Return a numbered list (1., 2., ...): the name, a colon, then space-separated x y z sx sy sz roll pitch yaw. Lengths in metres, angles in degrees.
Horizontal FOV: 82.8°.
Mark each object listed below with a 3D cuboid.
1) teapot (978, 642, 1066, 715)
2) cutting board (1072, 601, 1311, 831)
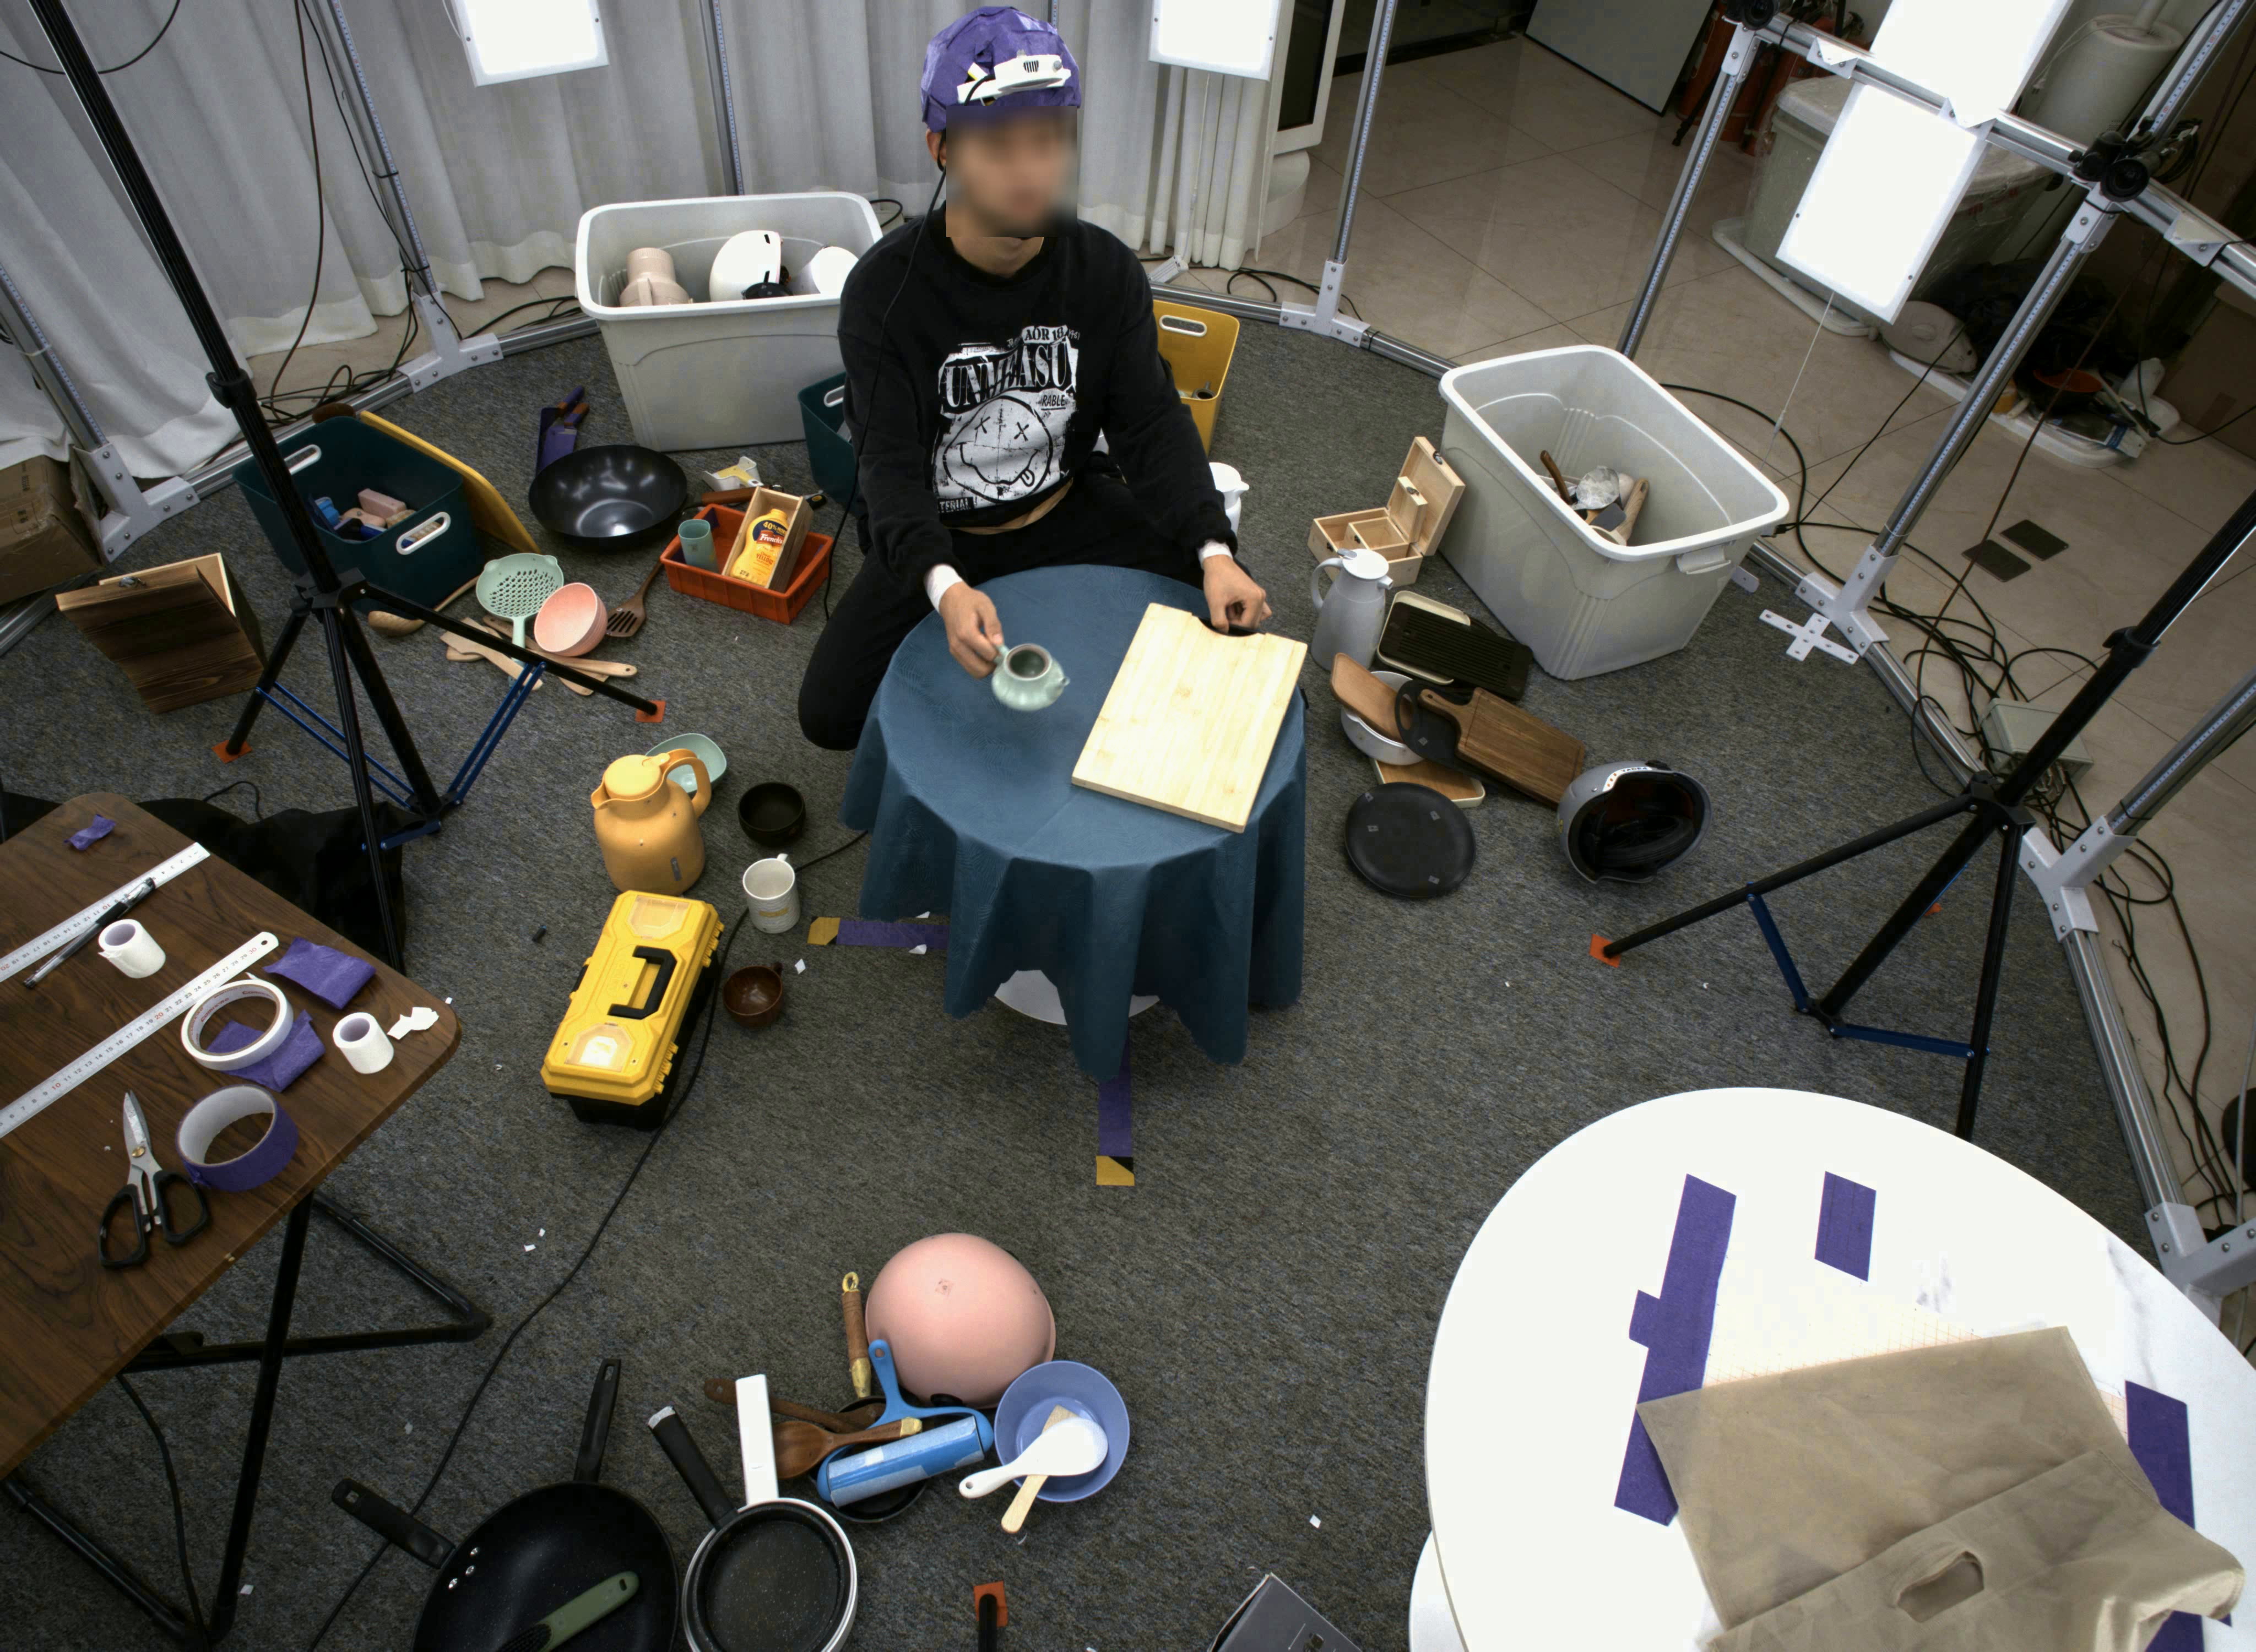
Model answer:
1. teapot: -0.140 -0.198 1.700 0.138 0.060 0.097 29 61 17
2. cutting board: 0.094 -0.162 1.786 0.251 0.023 0.356 15 55 9
